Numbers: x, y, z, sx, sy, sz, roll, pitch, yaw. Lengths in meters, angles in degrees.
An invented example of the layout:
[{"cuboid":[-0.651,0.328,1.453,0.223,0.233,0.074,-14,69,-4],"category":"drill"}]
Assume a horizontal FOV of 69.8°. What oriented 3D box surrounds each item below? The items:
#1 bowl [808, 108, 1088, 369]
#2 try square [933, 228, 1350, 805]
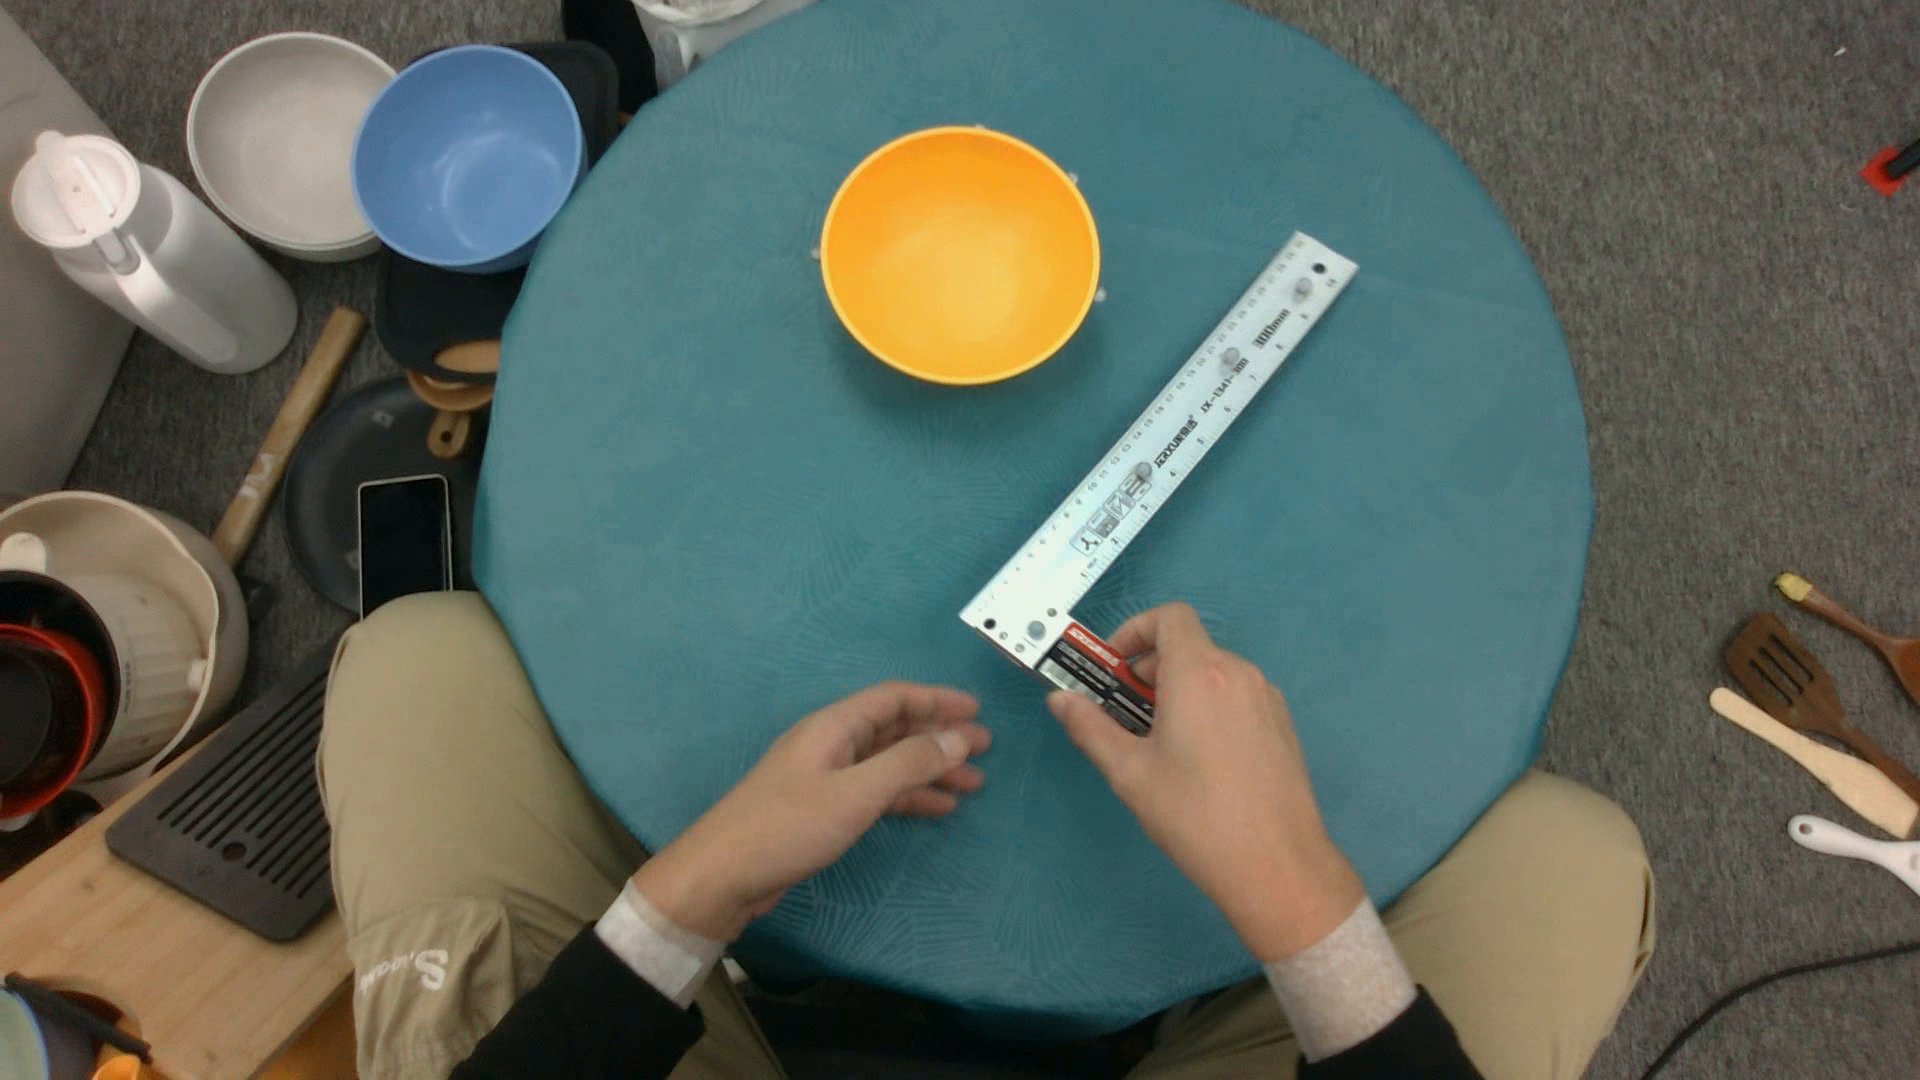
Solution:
[{"cuboid":[-0.006,-0.152,0.737,0.145,0.060,0.145,0,78,-1],"category":"bowl"},{"cuboid":[0.143,-0.027,0.707,0.152,0.016,0.314,40,67,12],"category":"try square"}]
